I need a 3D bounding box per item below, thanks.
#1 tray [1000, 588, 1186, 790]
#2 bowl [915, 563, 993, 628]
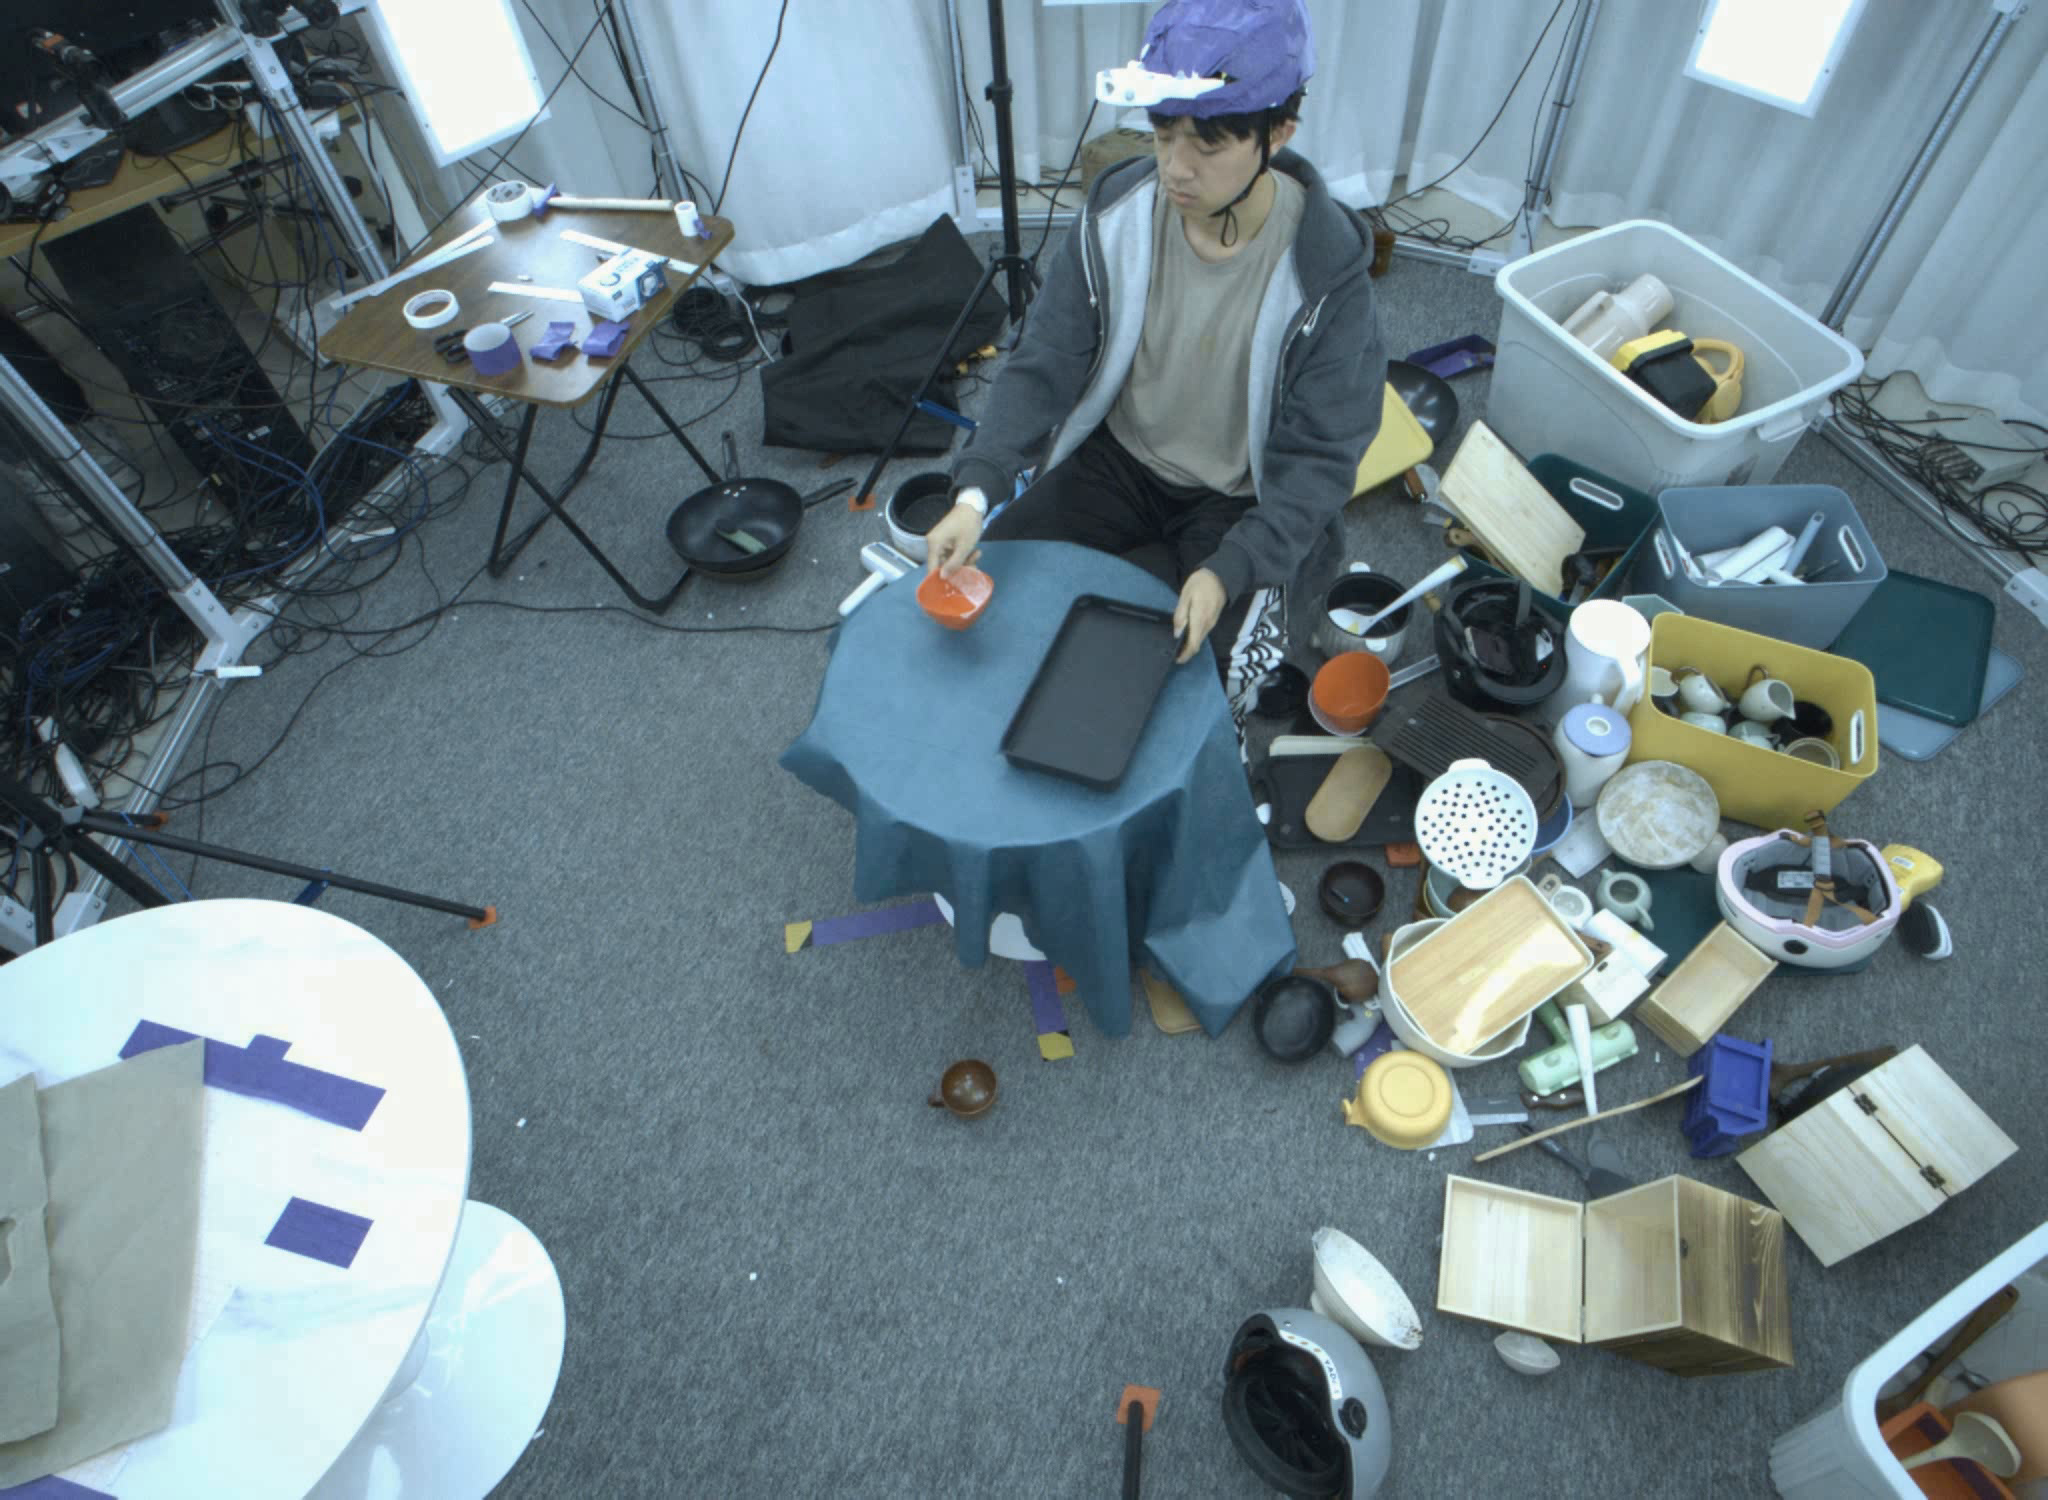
[{"bbox_3d":[0.105,-0.095,1.800,0.182,0.037,0.318,17,61,17],"label":"tray"},{"bbox_3d":[-0.104,-0.229,1.864,0.119,0.052,0.117,-1,50,2],"label":"bowl"}]
